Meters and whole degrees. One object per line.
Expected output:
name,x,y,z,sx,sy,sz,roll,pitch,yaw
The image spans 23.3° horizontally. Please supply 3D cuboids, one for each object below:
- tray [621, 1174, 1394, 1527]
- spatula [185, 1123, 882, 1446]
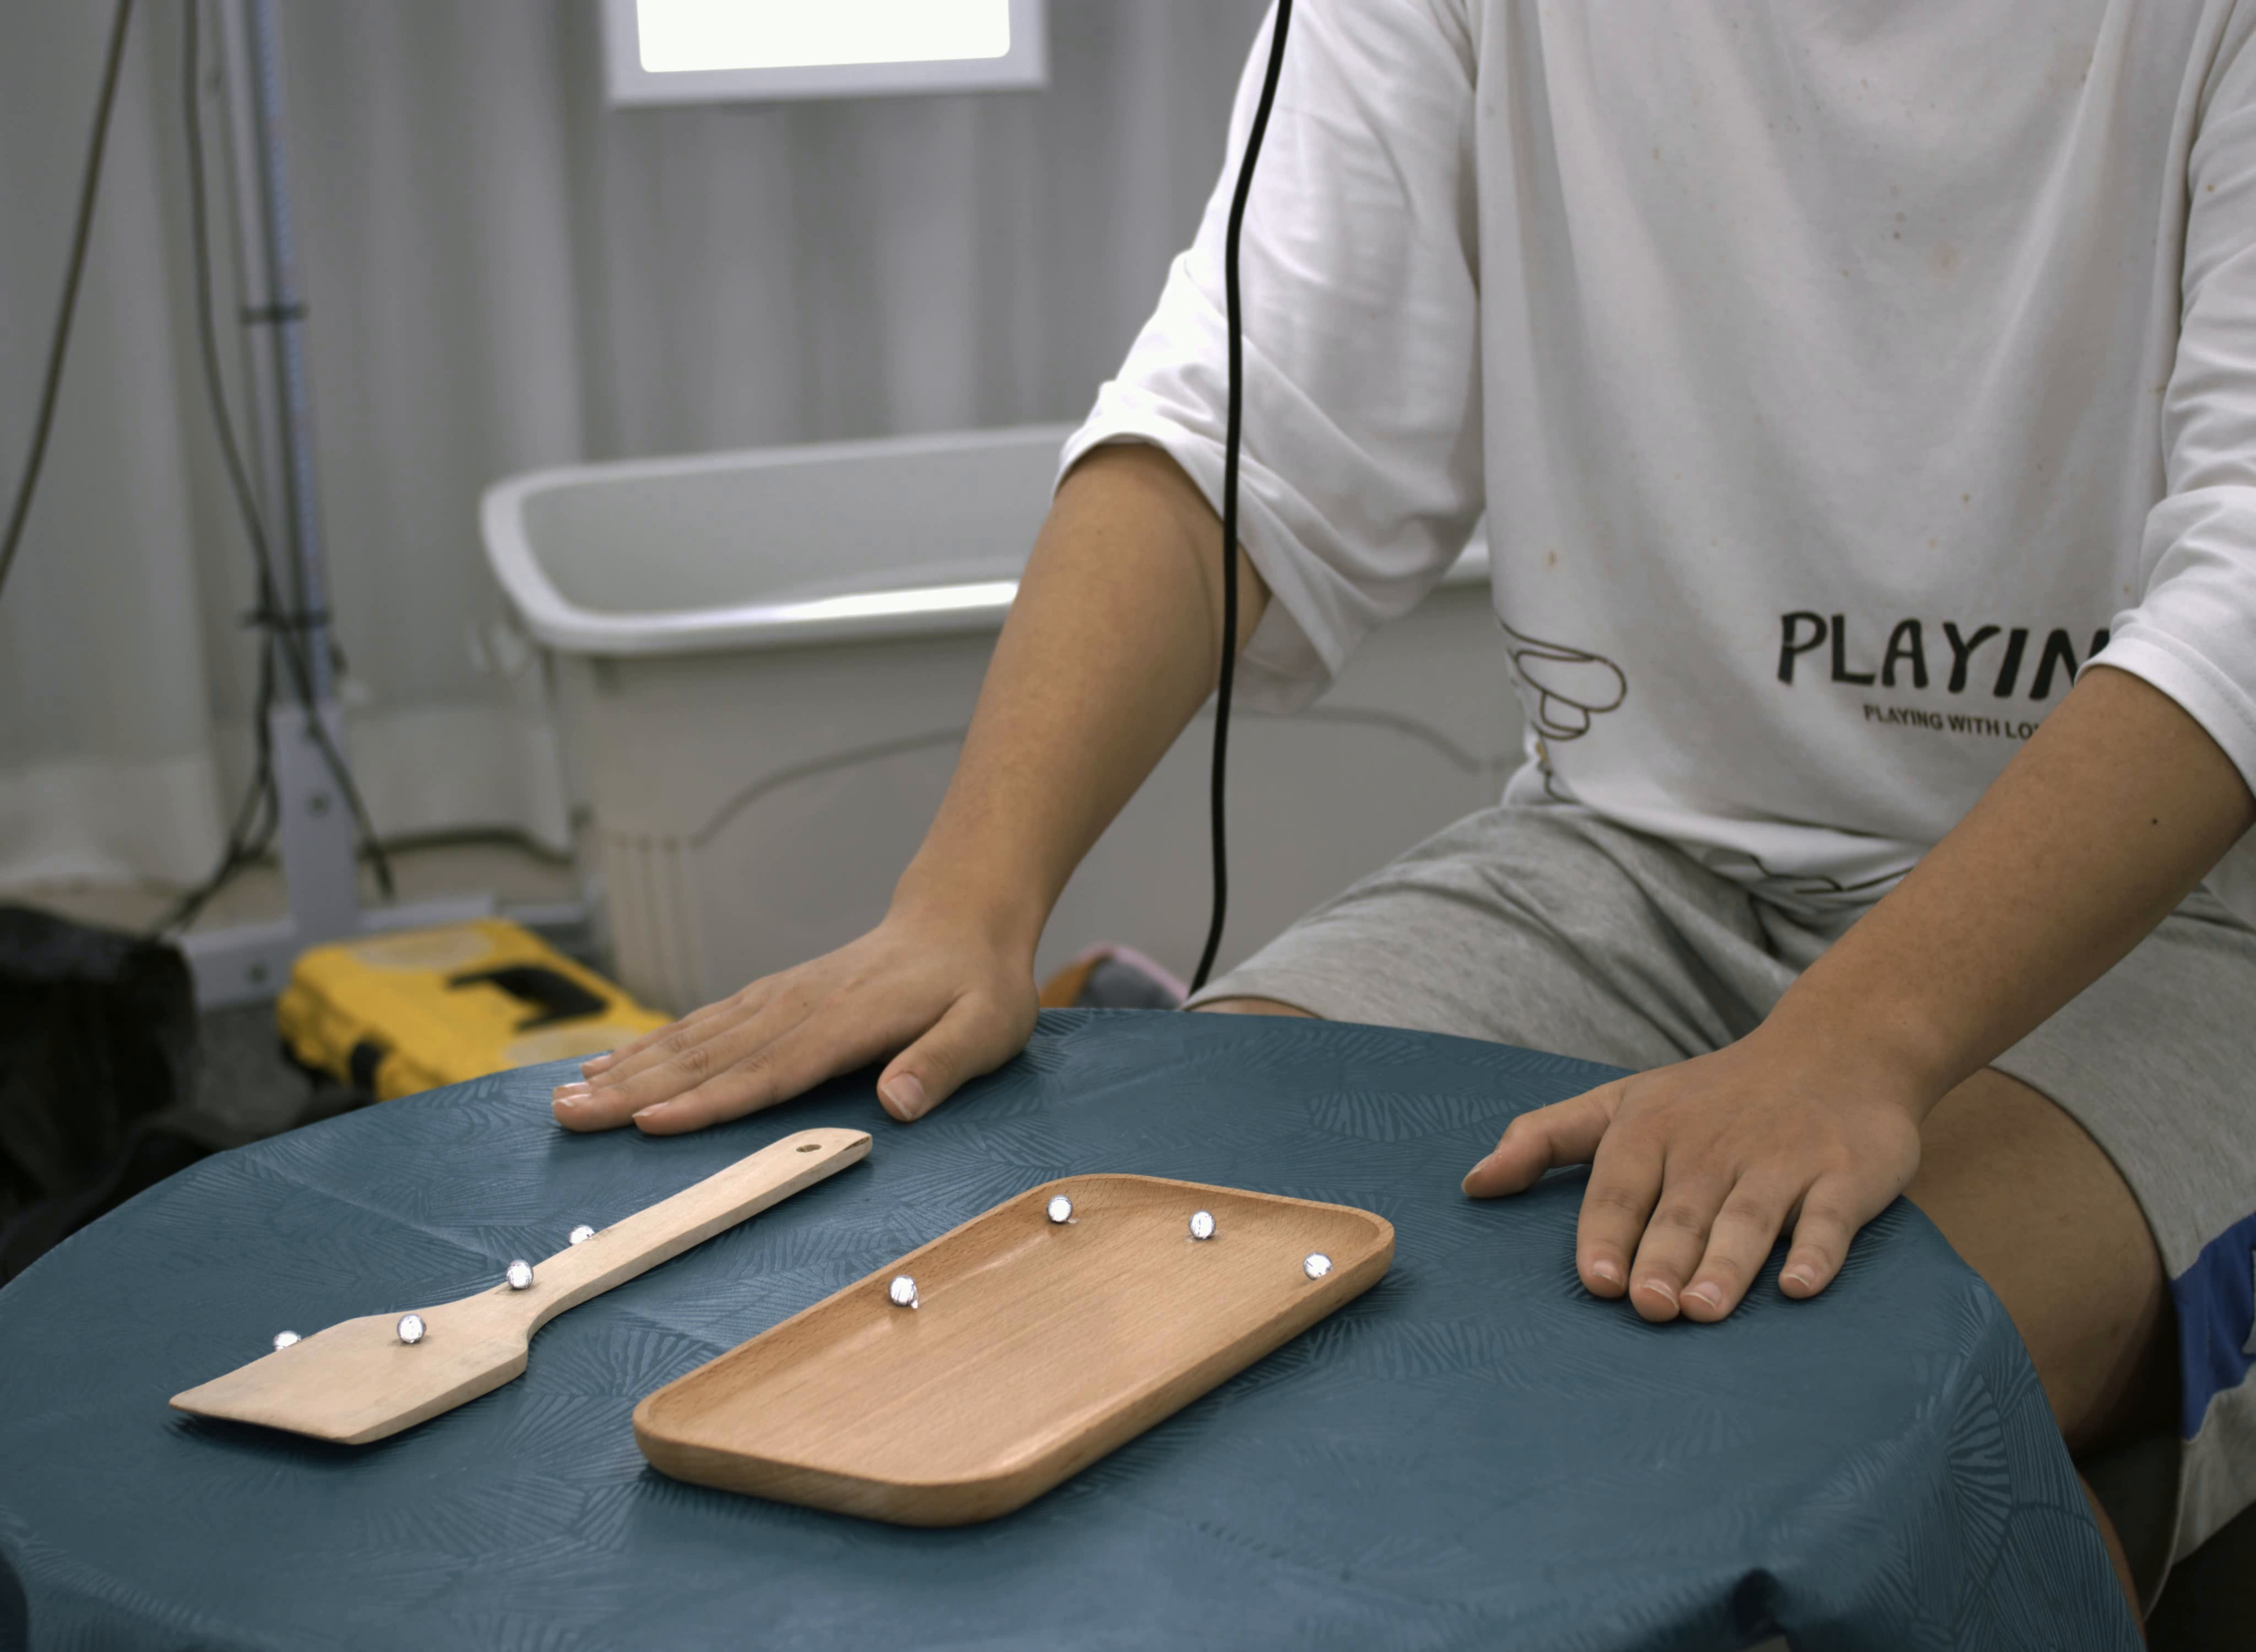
tray,-0.030,0.148,1.568,0.131,0.023,0.251,4,16,33
spatula,-0.165,0.135,1.653,0.072,0.010,0.293,6,17,32
